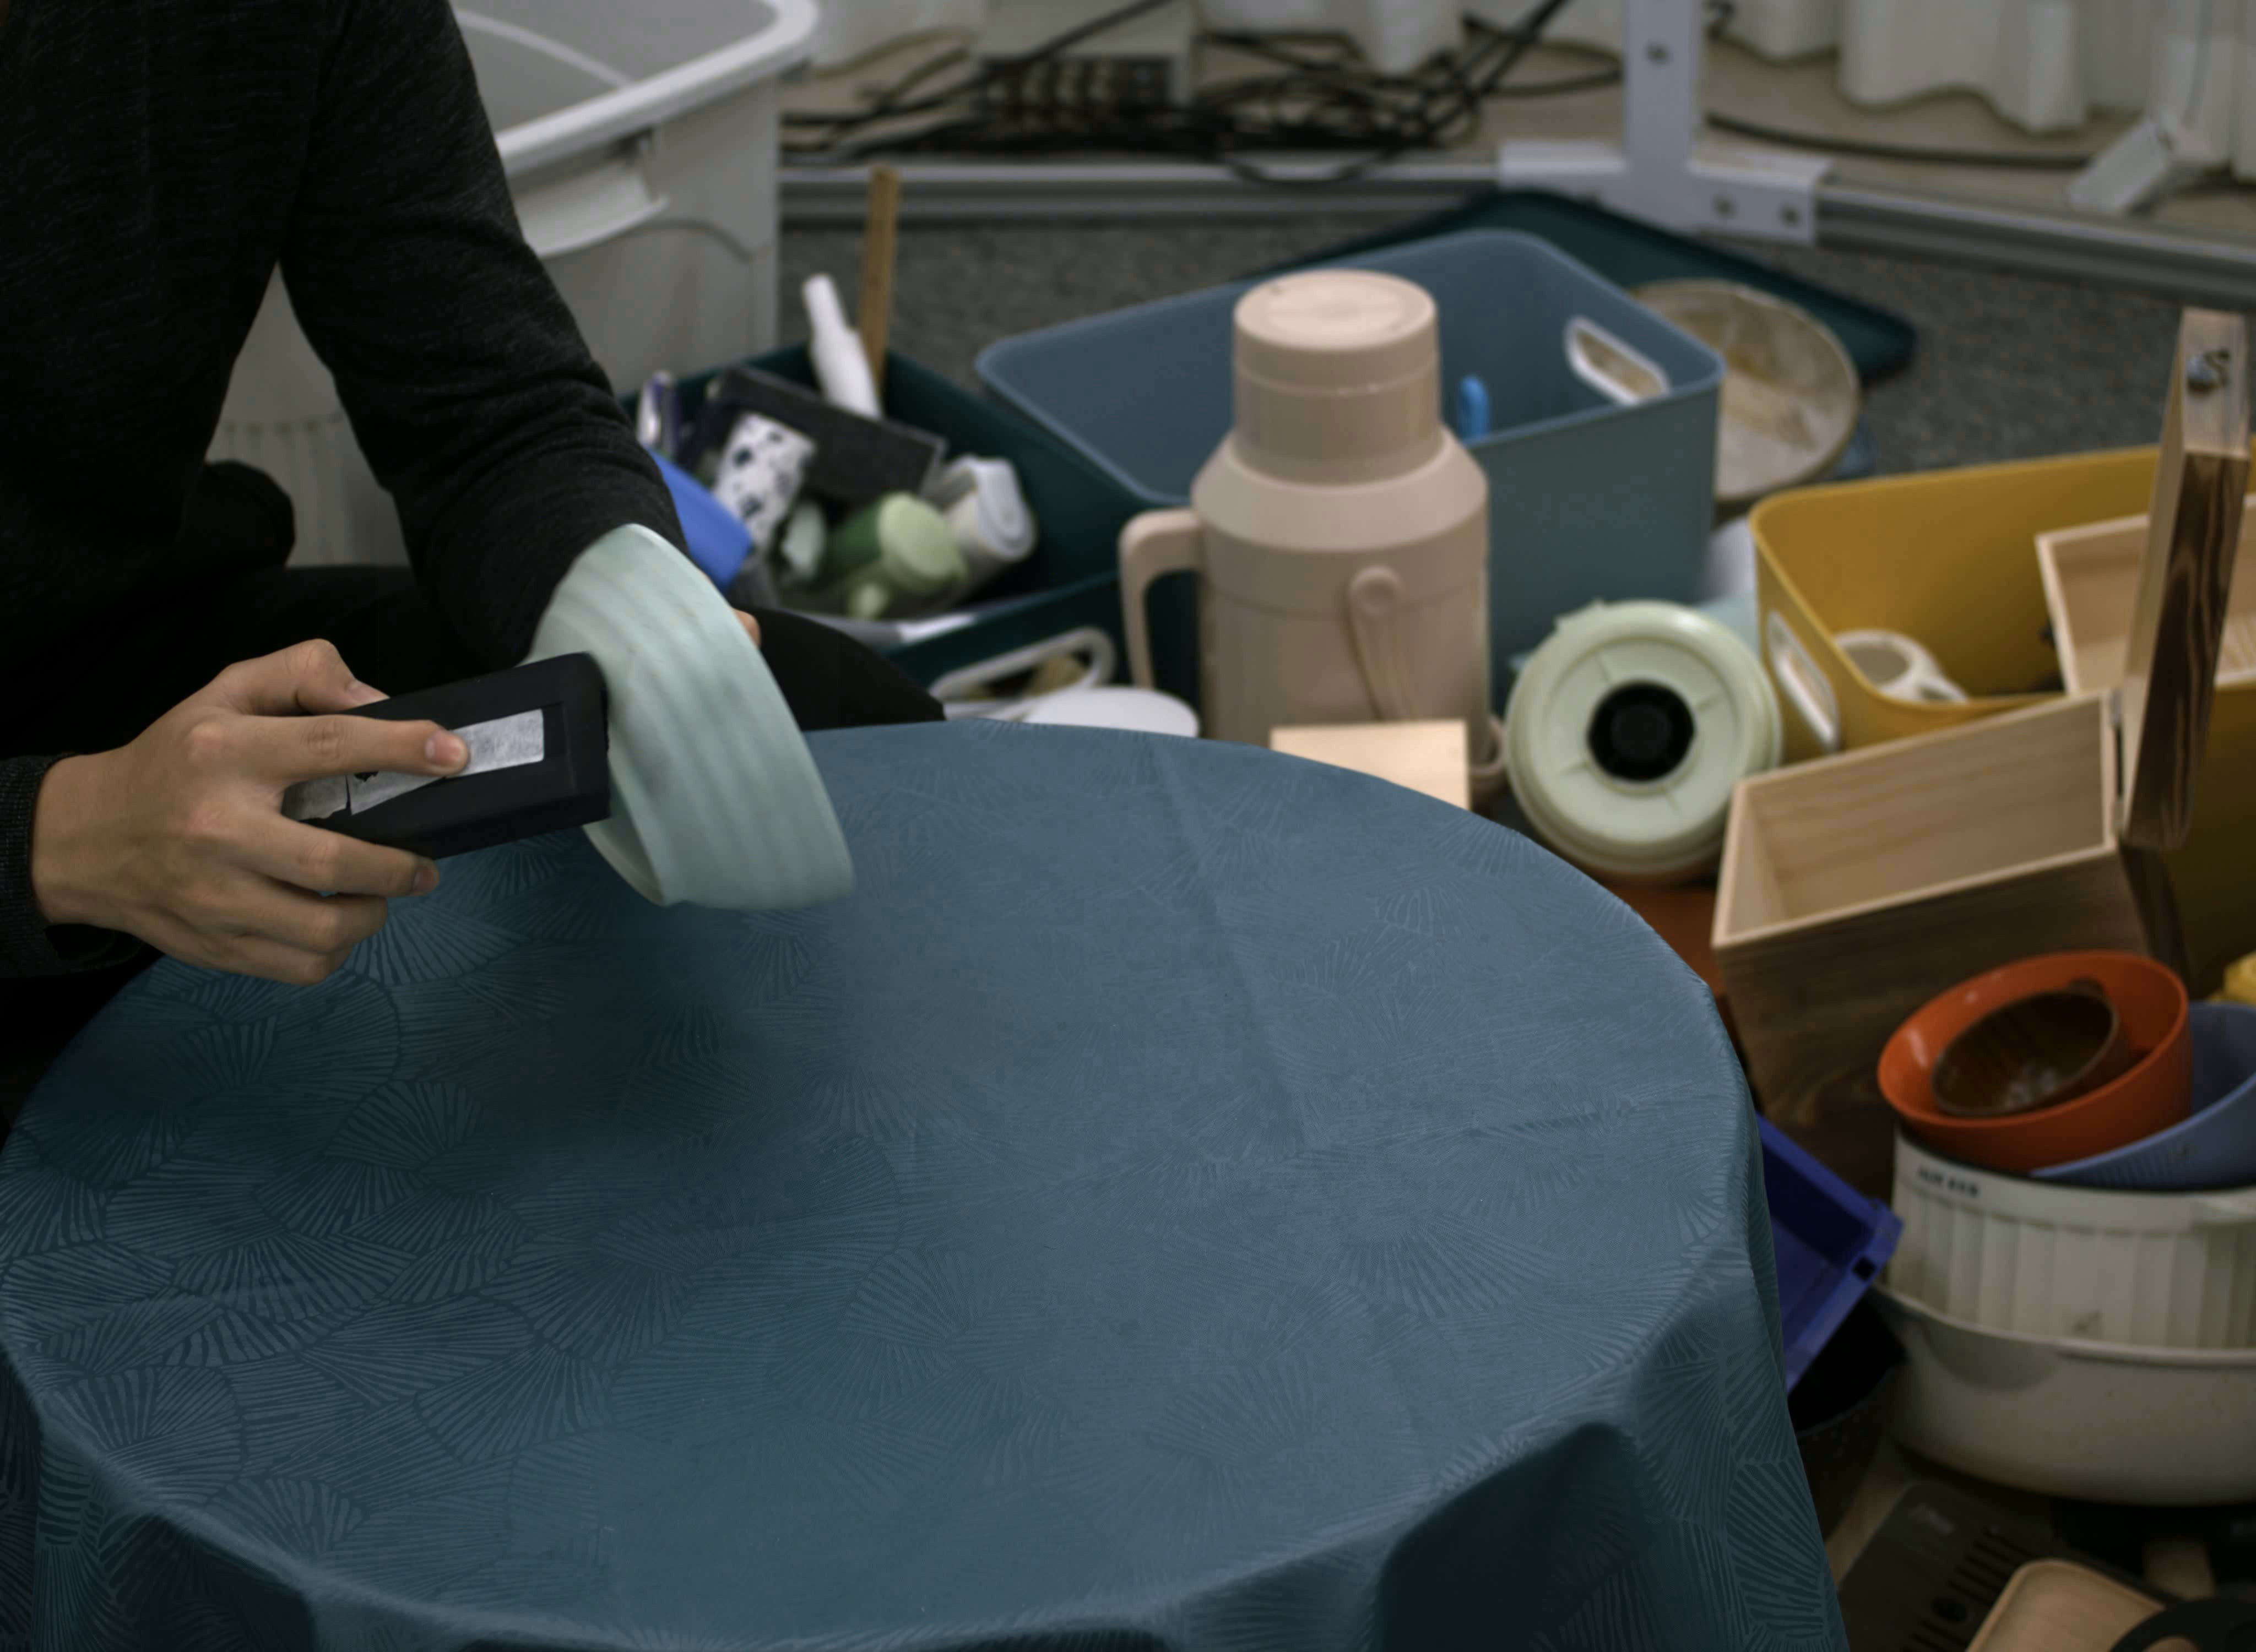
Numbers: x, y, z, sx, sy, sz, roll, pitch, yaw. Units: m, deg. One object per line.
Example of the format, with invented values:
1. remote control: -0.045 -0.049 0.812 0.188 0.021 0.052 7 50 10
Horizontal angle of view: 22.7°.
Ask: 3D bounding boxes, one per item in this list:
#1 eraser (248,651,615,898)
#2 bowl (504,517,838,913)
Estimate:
1. eraser: -0.226 -0.016 1.828 0.124 0.054 0.030 -15 -20 21
2. bowl: -0.160 -0.027 1.879 0.059 0.150 0.152 -29 34 -14
